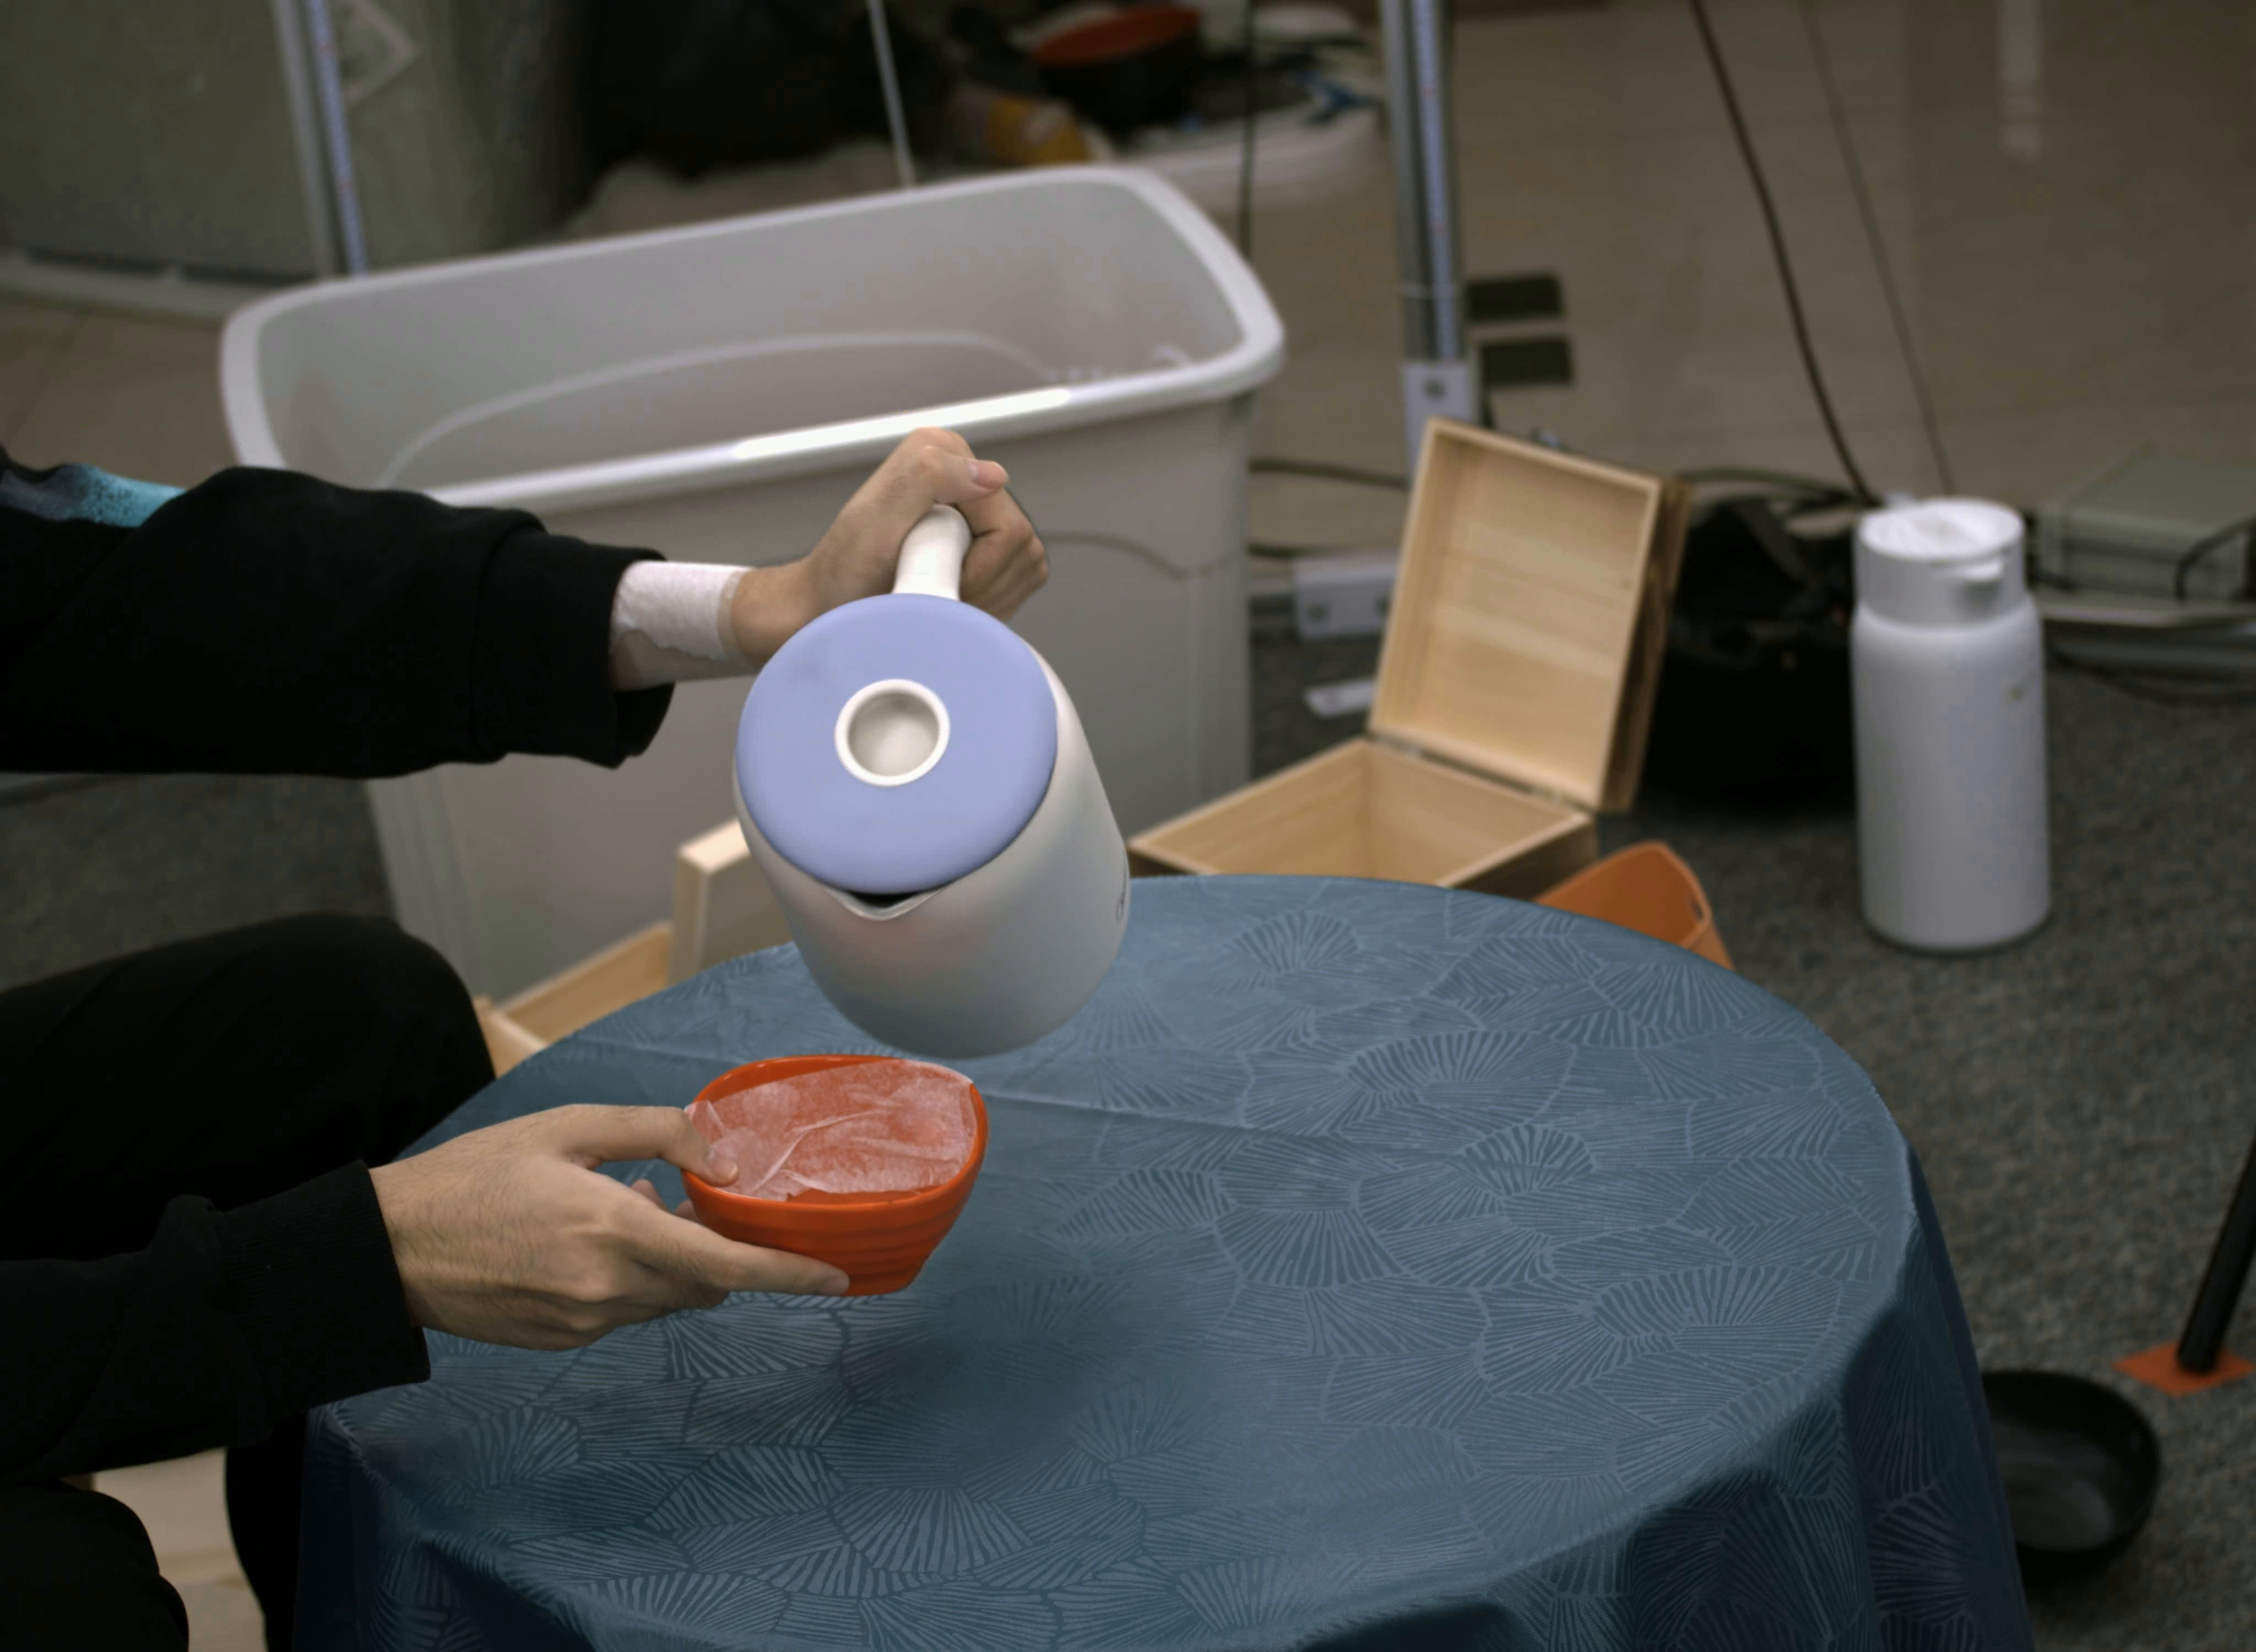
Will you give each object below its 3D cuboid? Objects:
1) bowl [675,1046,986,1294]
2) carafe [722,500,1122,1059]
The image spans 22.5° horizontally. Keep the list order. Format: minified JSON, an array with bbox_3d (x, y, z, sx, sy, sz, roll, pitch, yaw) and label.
[{"bbox_3d":[-0.106,0.128,2.023,0.119,0.052,0.117,1,29,-1],"label":"bowl"},{"bbox_3d":[-0.075,-0.023,2.120,0.132,0.185,0.189,0,67,7],"label":"carafe"}]
